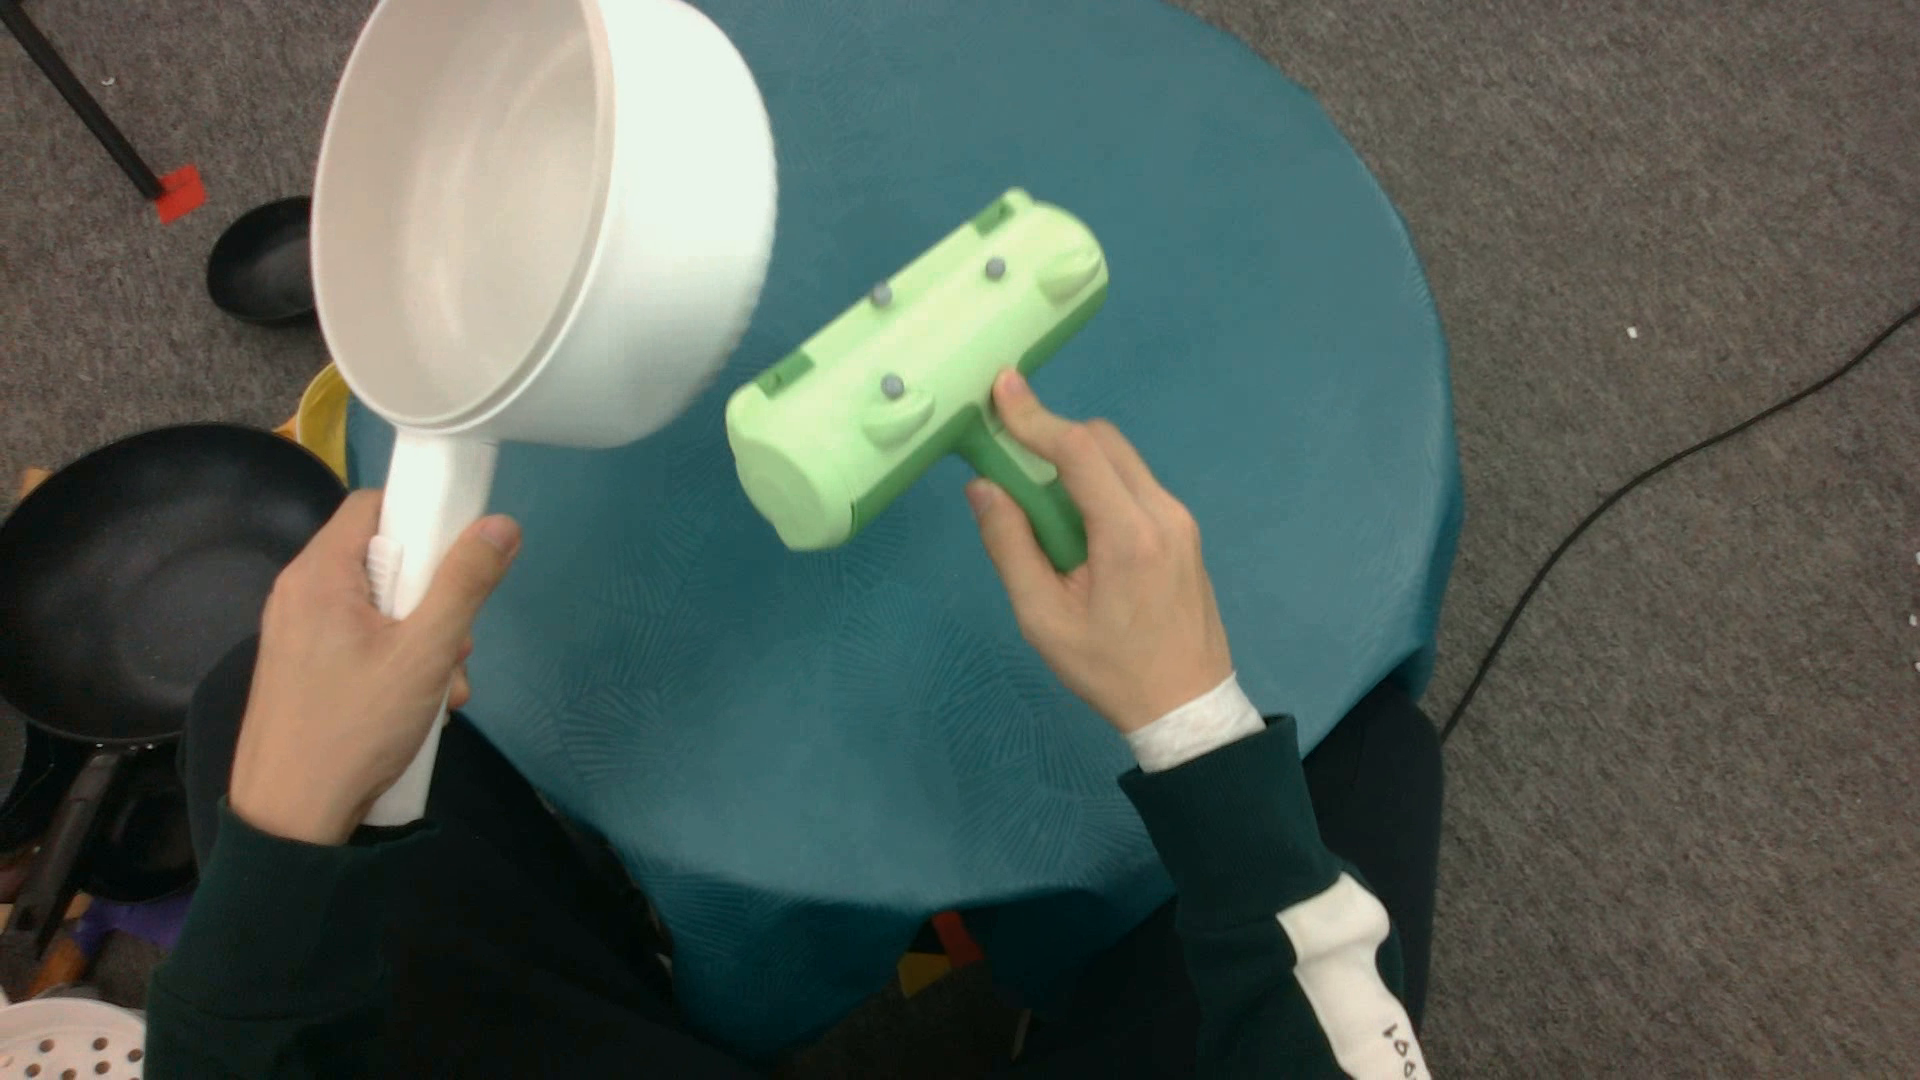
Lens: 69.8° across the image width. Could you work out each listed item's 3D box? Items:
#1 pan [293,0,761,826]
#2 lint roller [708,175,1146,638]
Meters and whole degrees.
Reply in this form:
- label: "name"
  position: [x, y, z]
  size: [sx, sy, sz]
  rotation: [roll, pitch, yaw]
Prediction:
- label: "pan"
  position: [-0.188, -0.061, 0.574]
  size: [0.201, 0.102, 0.354]
  rotation: [12, 94, 35]
- label: "lint roller"
  position: [0.024, -0.039, 0.544]
  size: [0.183, 0.082, 0.199]
  rotation: [45, 52, -3]
